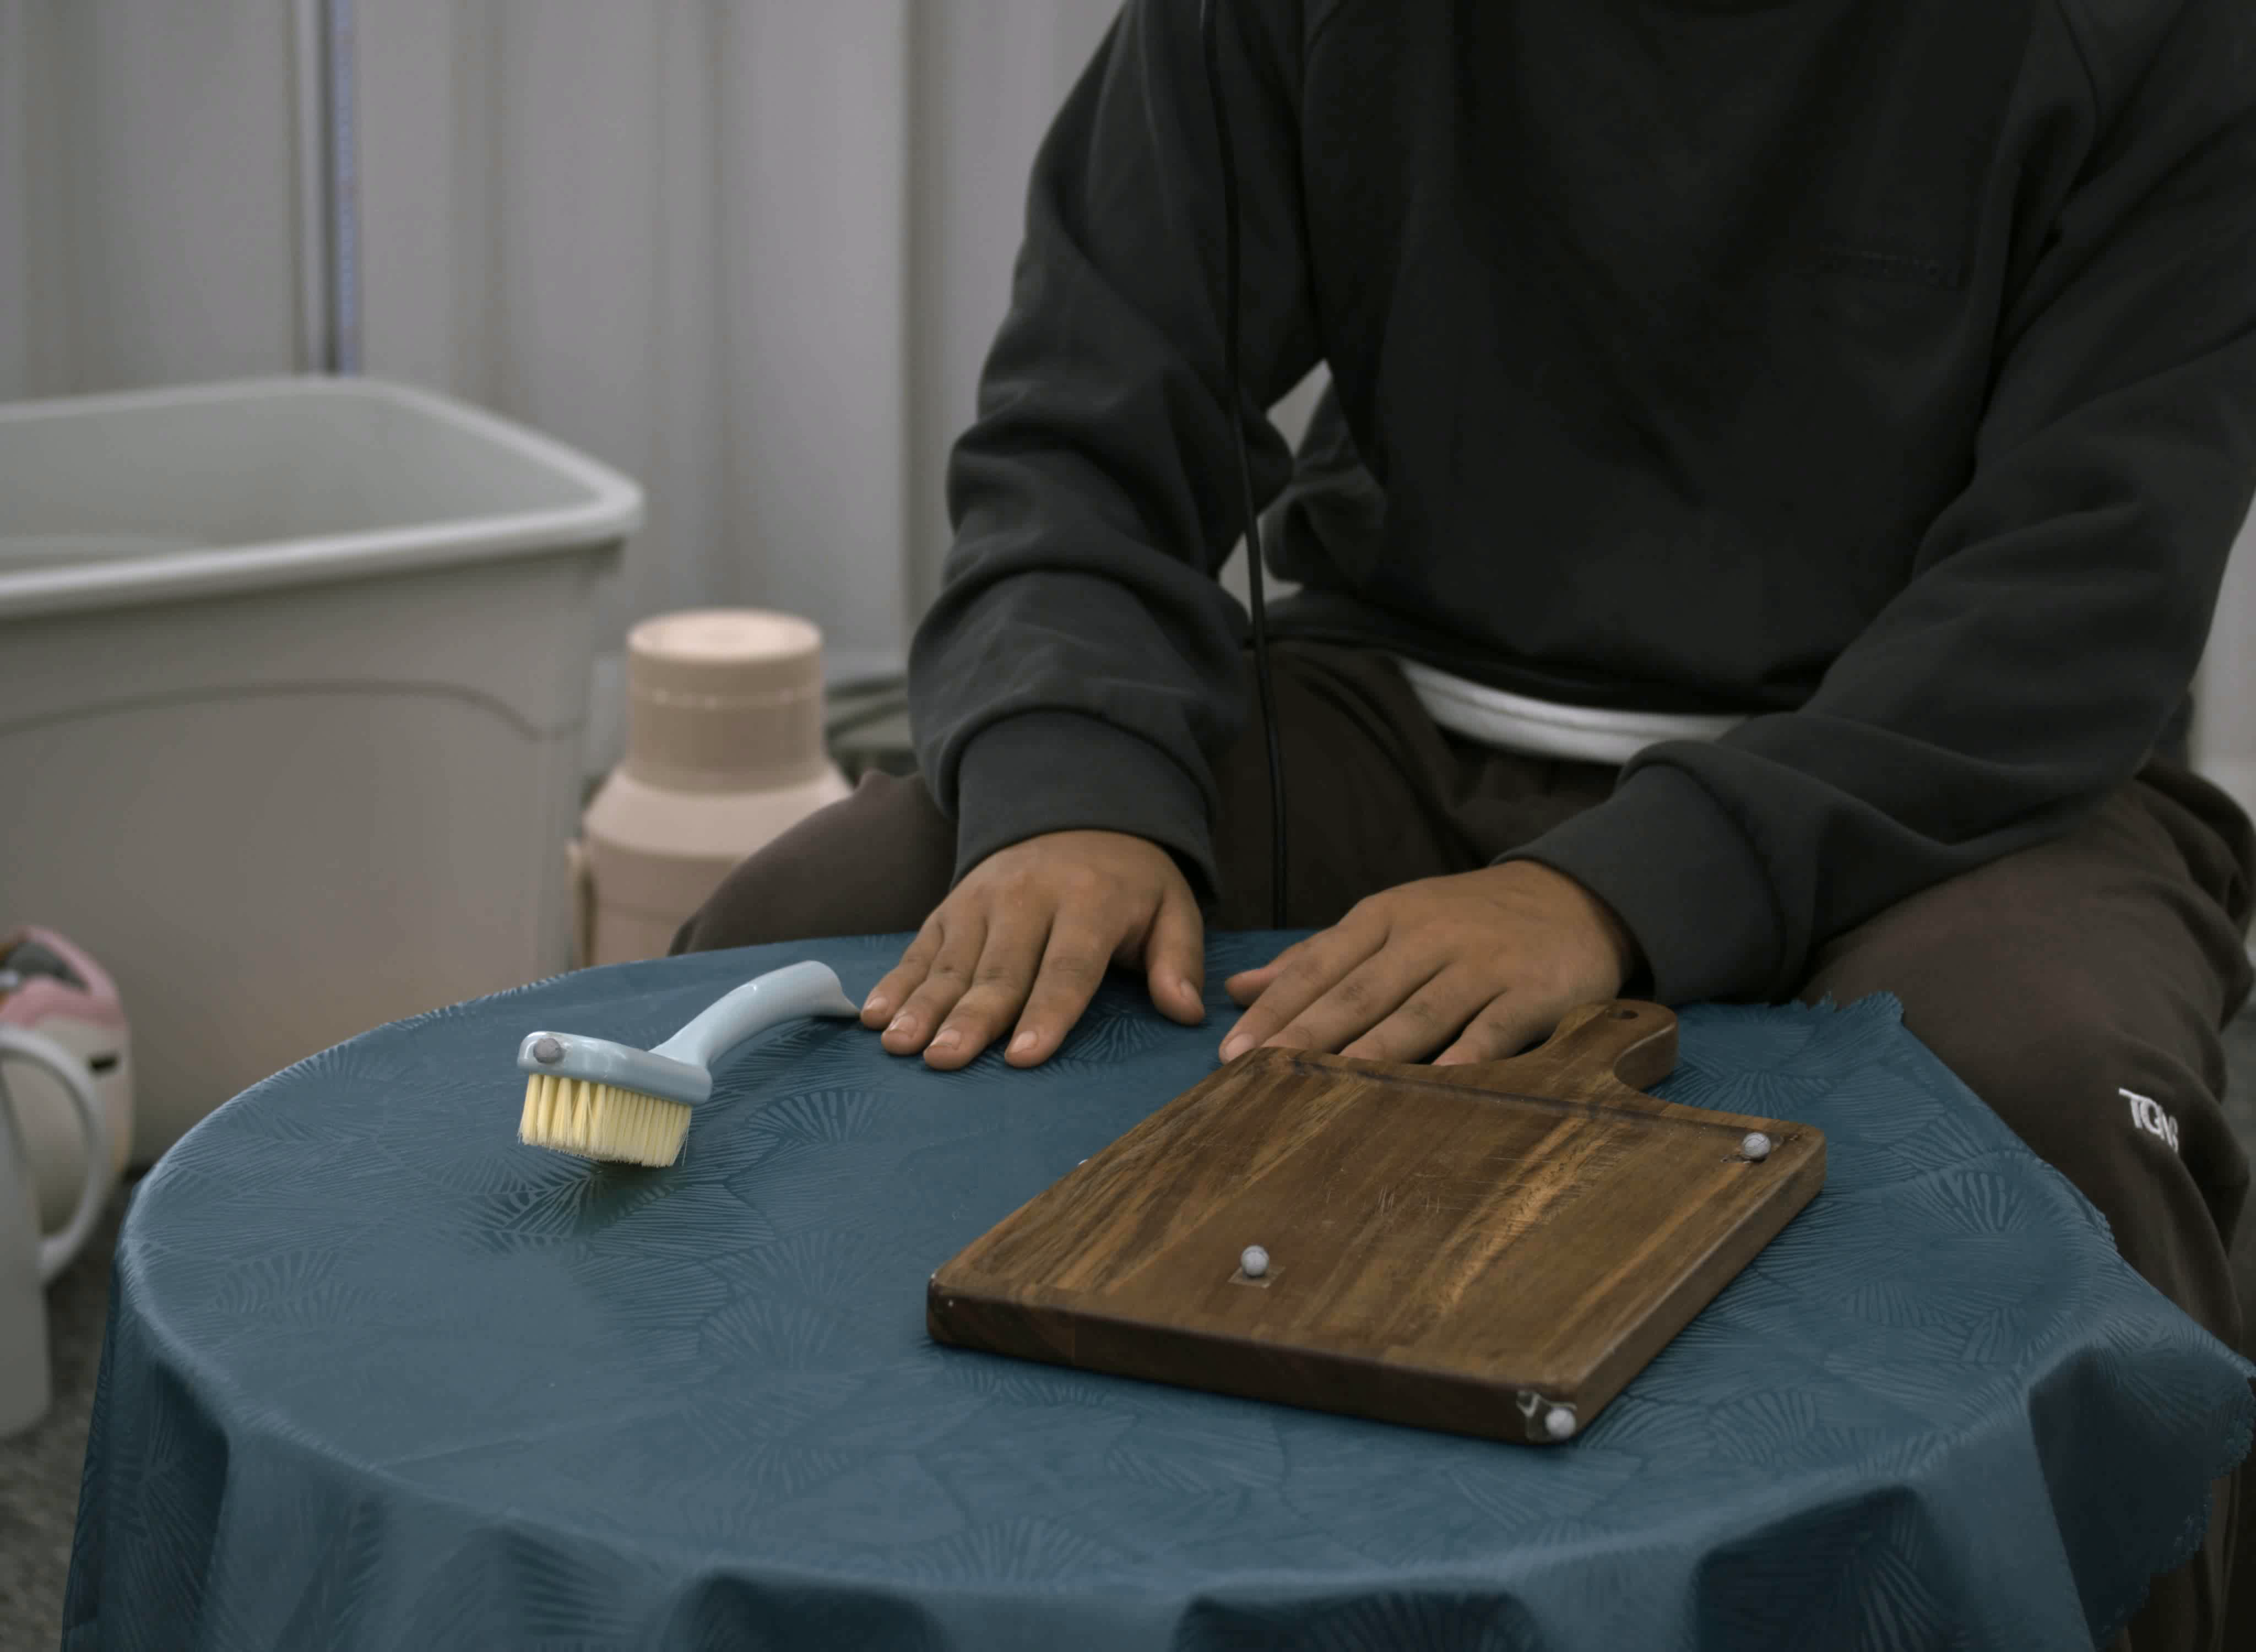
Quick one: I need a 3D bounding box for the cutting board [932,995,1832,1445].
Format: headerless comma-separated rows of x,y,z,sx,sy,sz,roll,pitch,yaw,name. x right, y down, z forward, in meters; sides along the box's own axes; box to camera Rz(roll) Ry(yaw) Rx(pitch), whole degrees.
0.102,0.108,1.610,0.199,0.023,0.353,8,17,23,cutting board

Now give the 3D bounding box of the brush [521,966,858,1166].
-0.137,0.078,1.689,0.037,0.050,0.229,8,8,17,brush
